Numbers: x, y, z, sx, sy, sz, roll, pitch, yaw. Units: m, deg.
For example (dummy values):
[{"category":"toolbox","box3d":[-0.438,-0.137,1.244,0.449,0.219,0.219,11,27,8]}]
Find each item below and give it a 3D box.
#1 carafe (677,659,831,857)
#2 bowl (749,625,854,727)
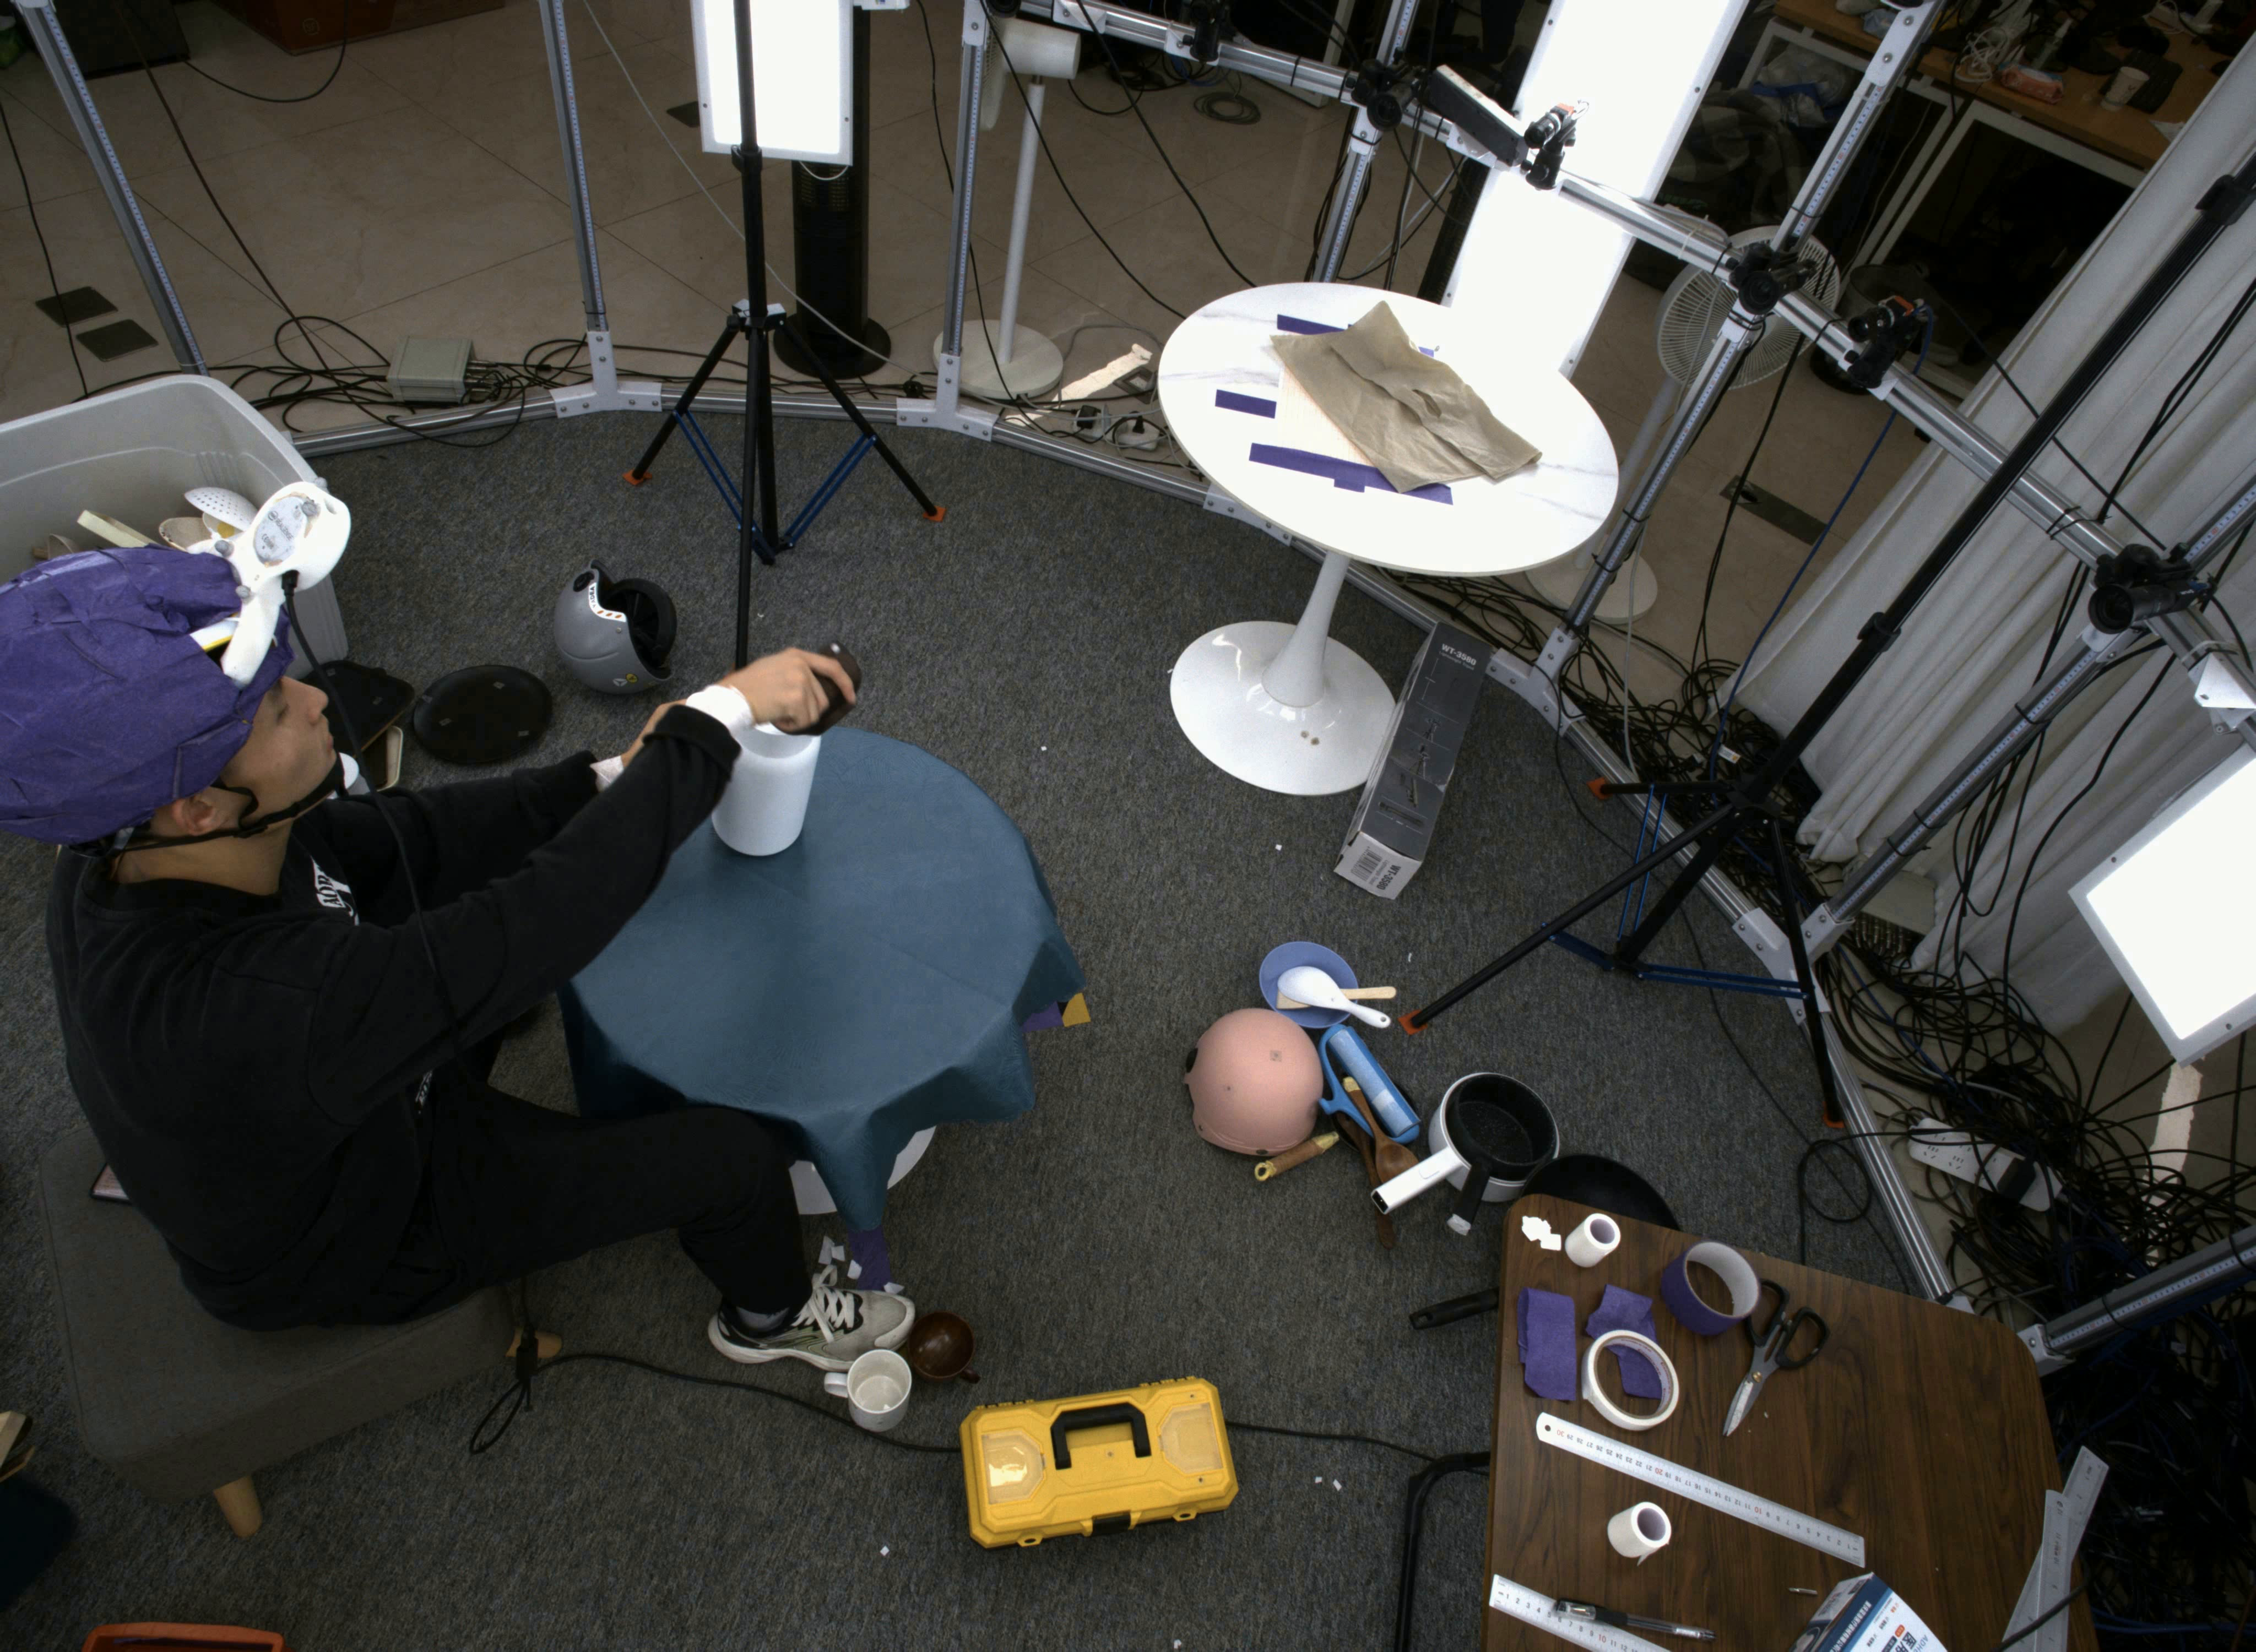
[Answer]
[{"category":"carafe","box3d":[-0.465,-0.079,1.587,0.174,0.271,0.122,2,59,-21]},{"category":"bowl","box3d":[-0.347,-0.154,1.412,0.071,0.116,0.118,48,53,-9]}]
